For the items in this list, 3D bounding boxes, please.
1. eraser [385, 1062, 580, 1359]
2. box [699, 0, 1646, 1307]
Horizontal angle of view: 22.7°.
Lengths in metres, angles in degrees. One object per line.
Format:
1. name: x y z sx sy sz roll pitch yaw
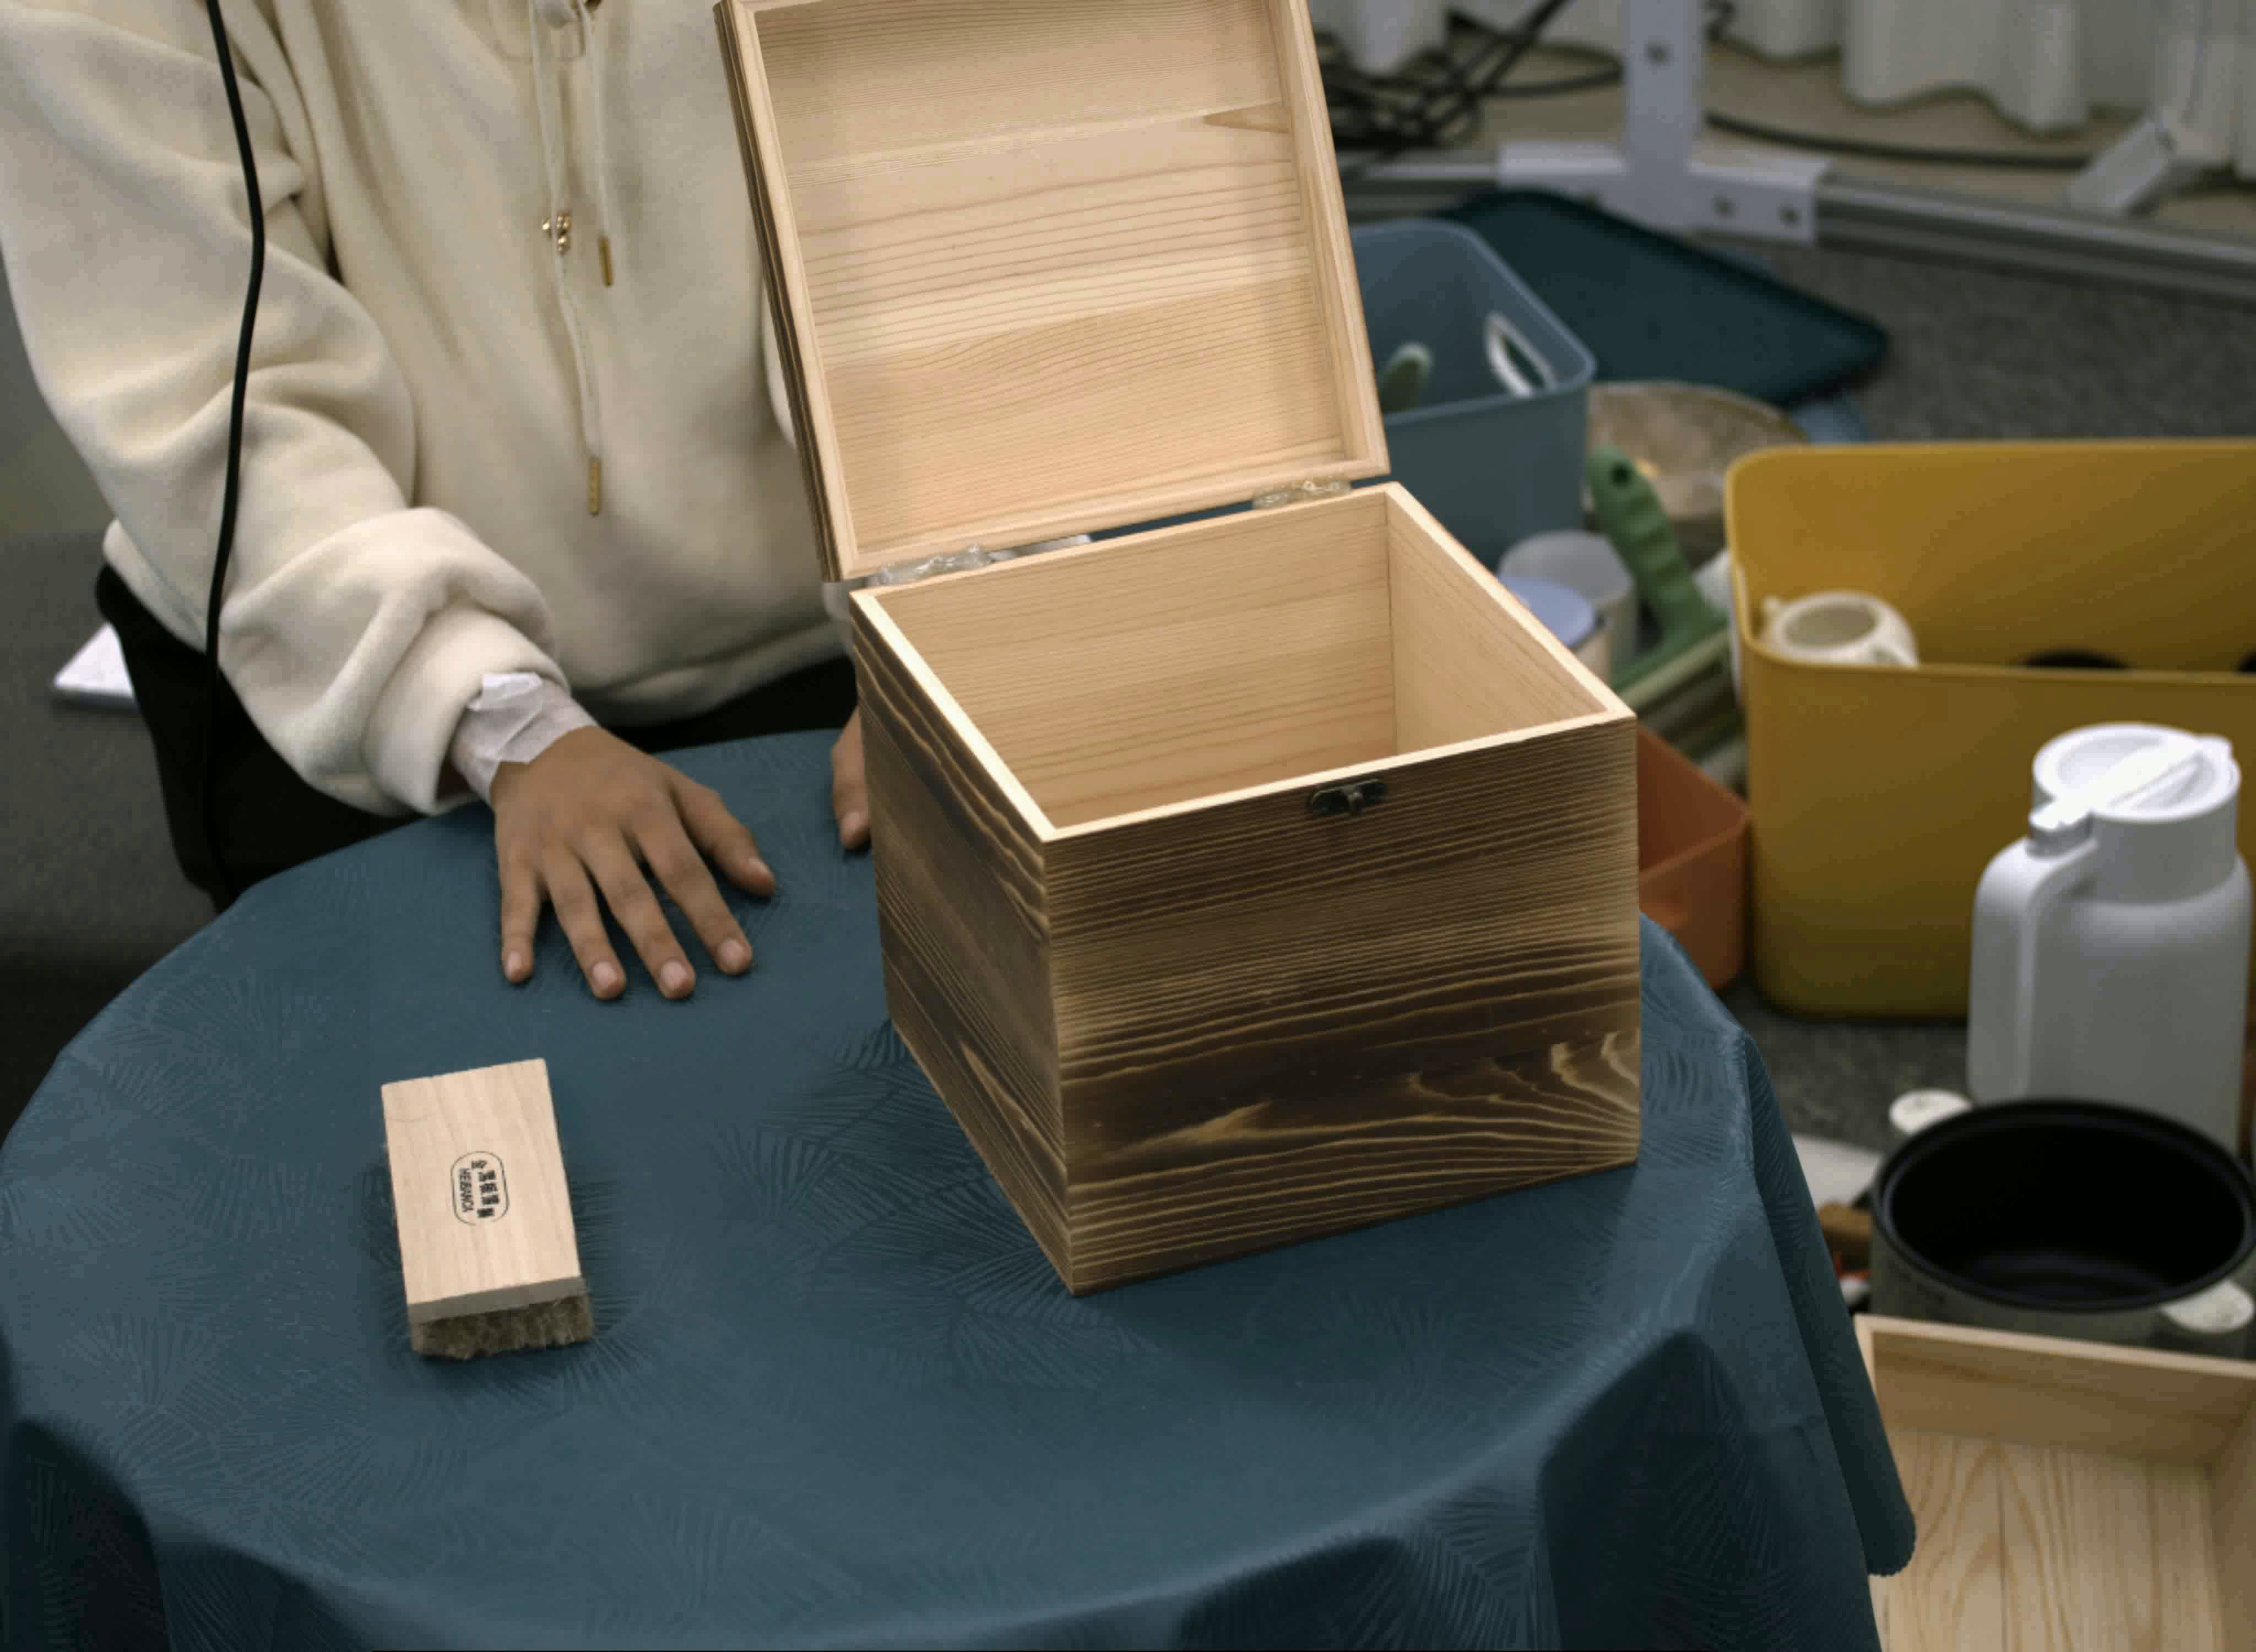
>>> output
1. eraser: -0.212 0.127 1.841 0.057 0.028 0.141 -9 27 -5
2. box: 0.013 -0.091 1.880 0.209 0.371 0.325 -13 28 -17
